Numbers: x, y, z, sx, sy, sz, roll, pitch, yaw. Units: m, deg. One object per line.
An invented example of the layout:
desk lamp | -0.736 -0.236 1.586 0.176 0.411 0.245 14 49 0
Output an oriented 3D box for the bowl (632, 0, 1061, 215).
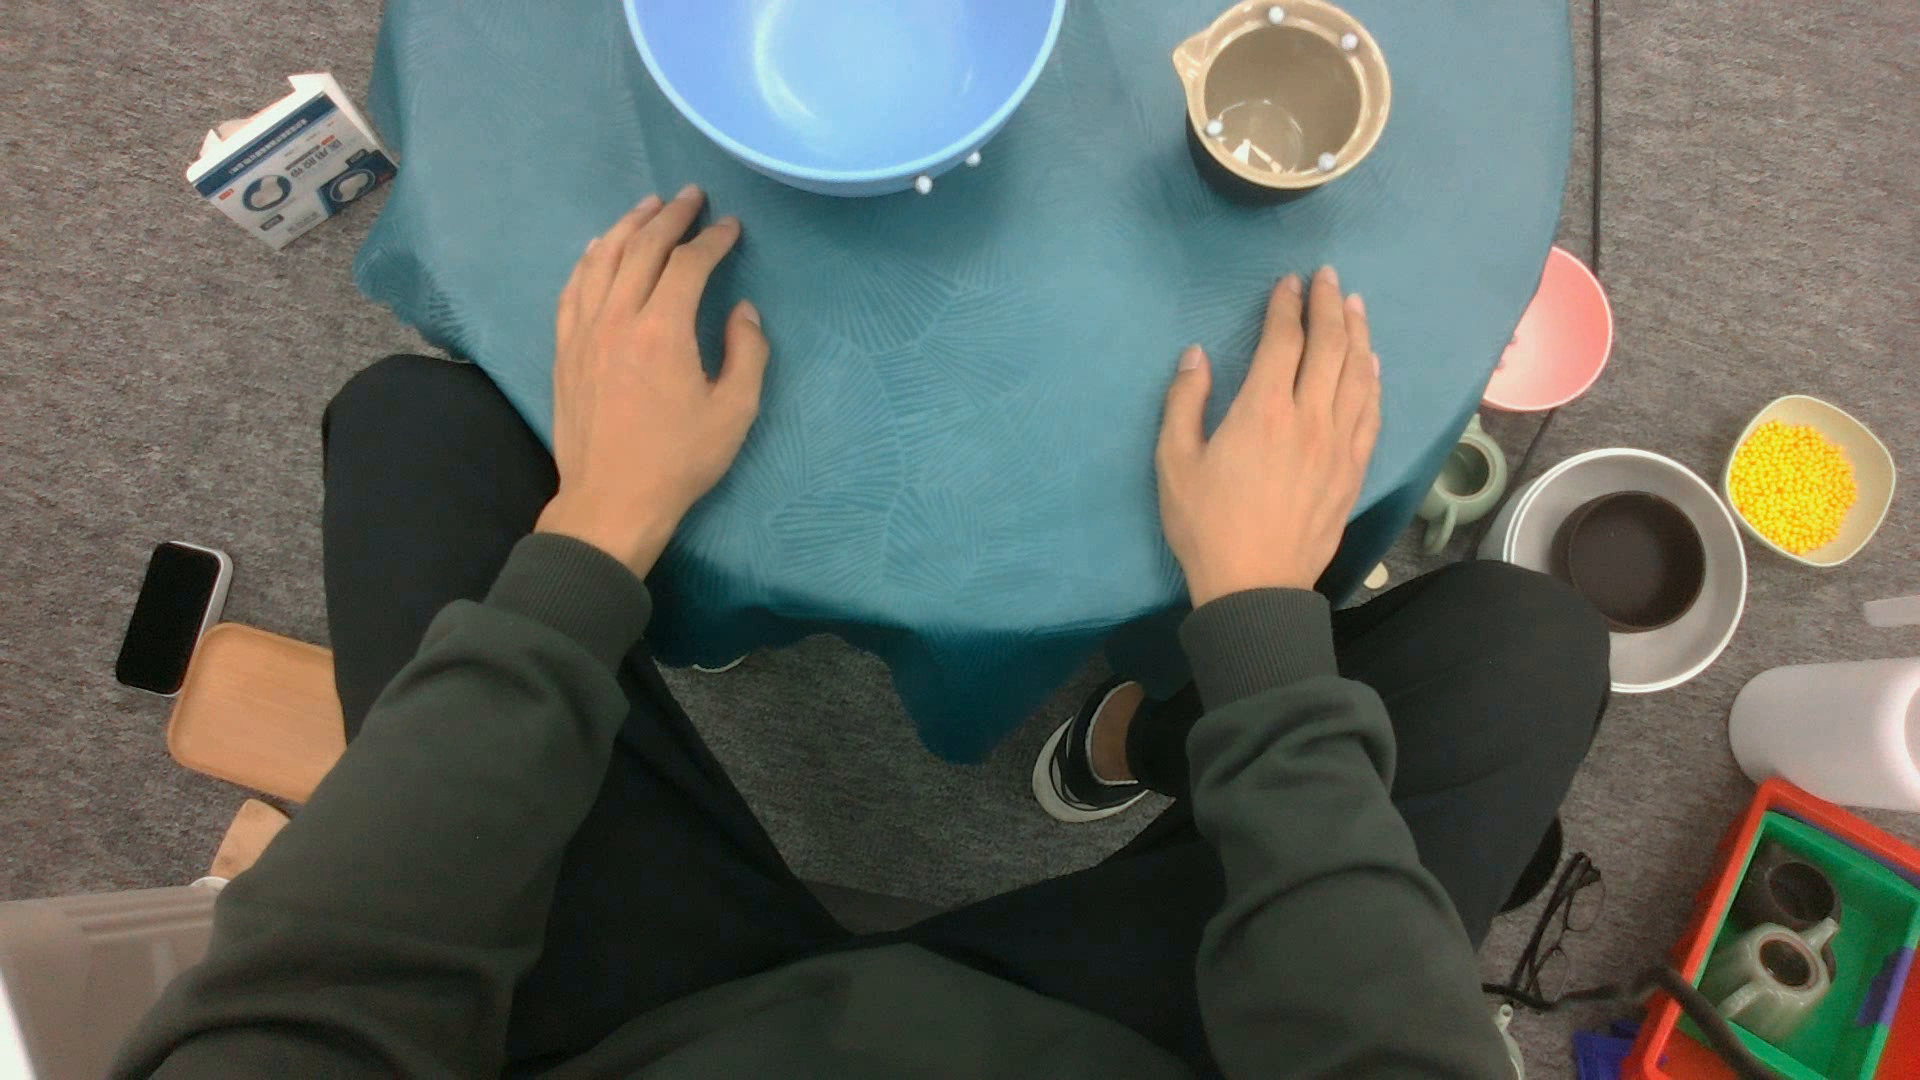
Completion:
bowl | -0.052 -0.243 0.672 0.196 0.095 0.196 0 84 0

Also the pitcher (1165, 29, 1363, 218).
pitcher | 0.142 -0.200 0.678 0.096 0.071 0.084 18 83 1
